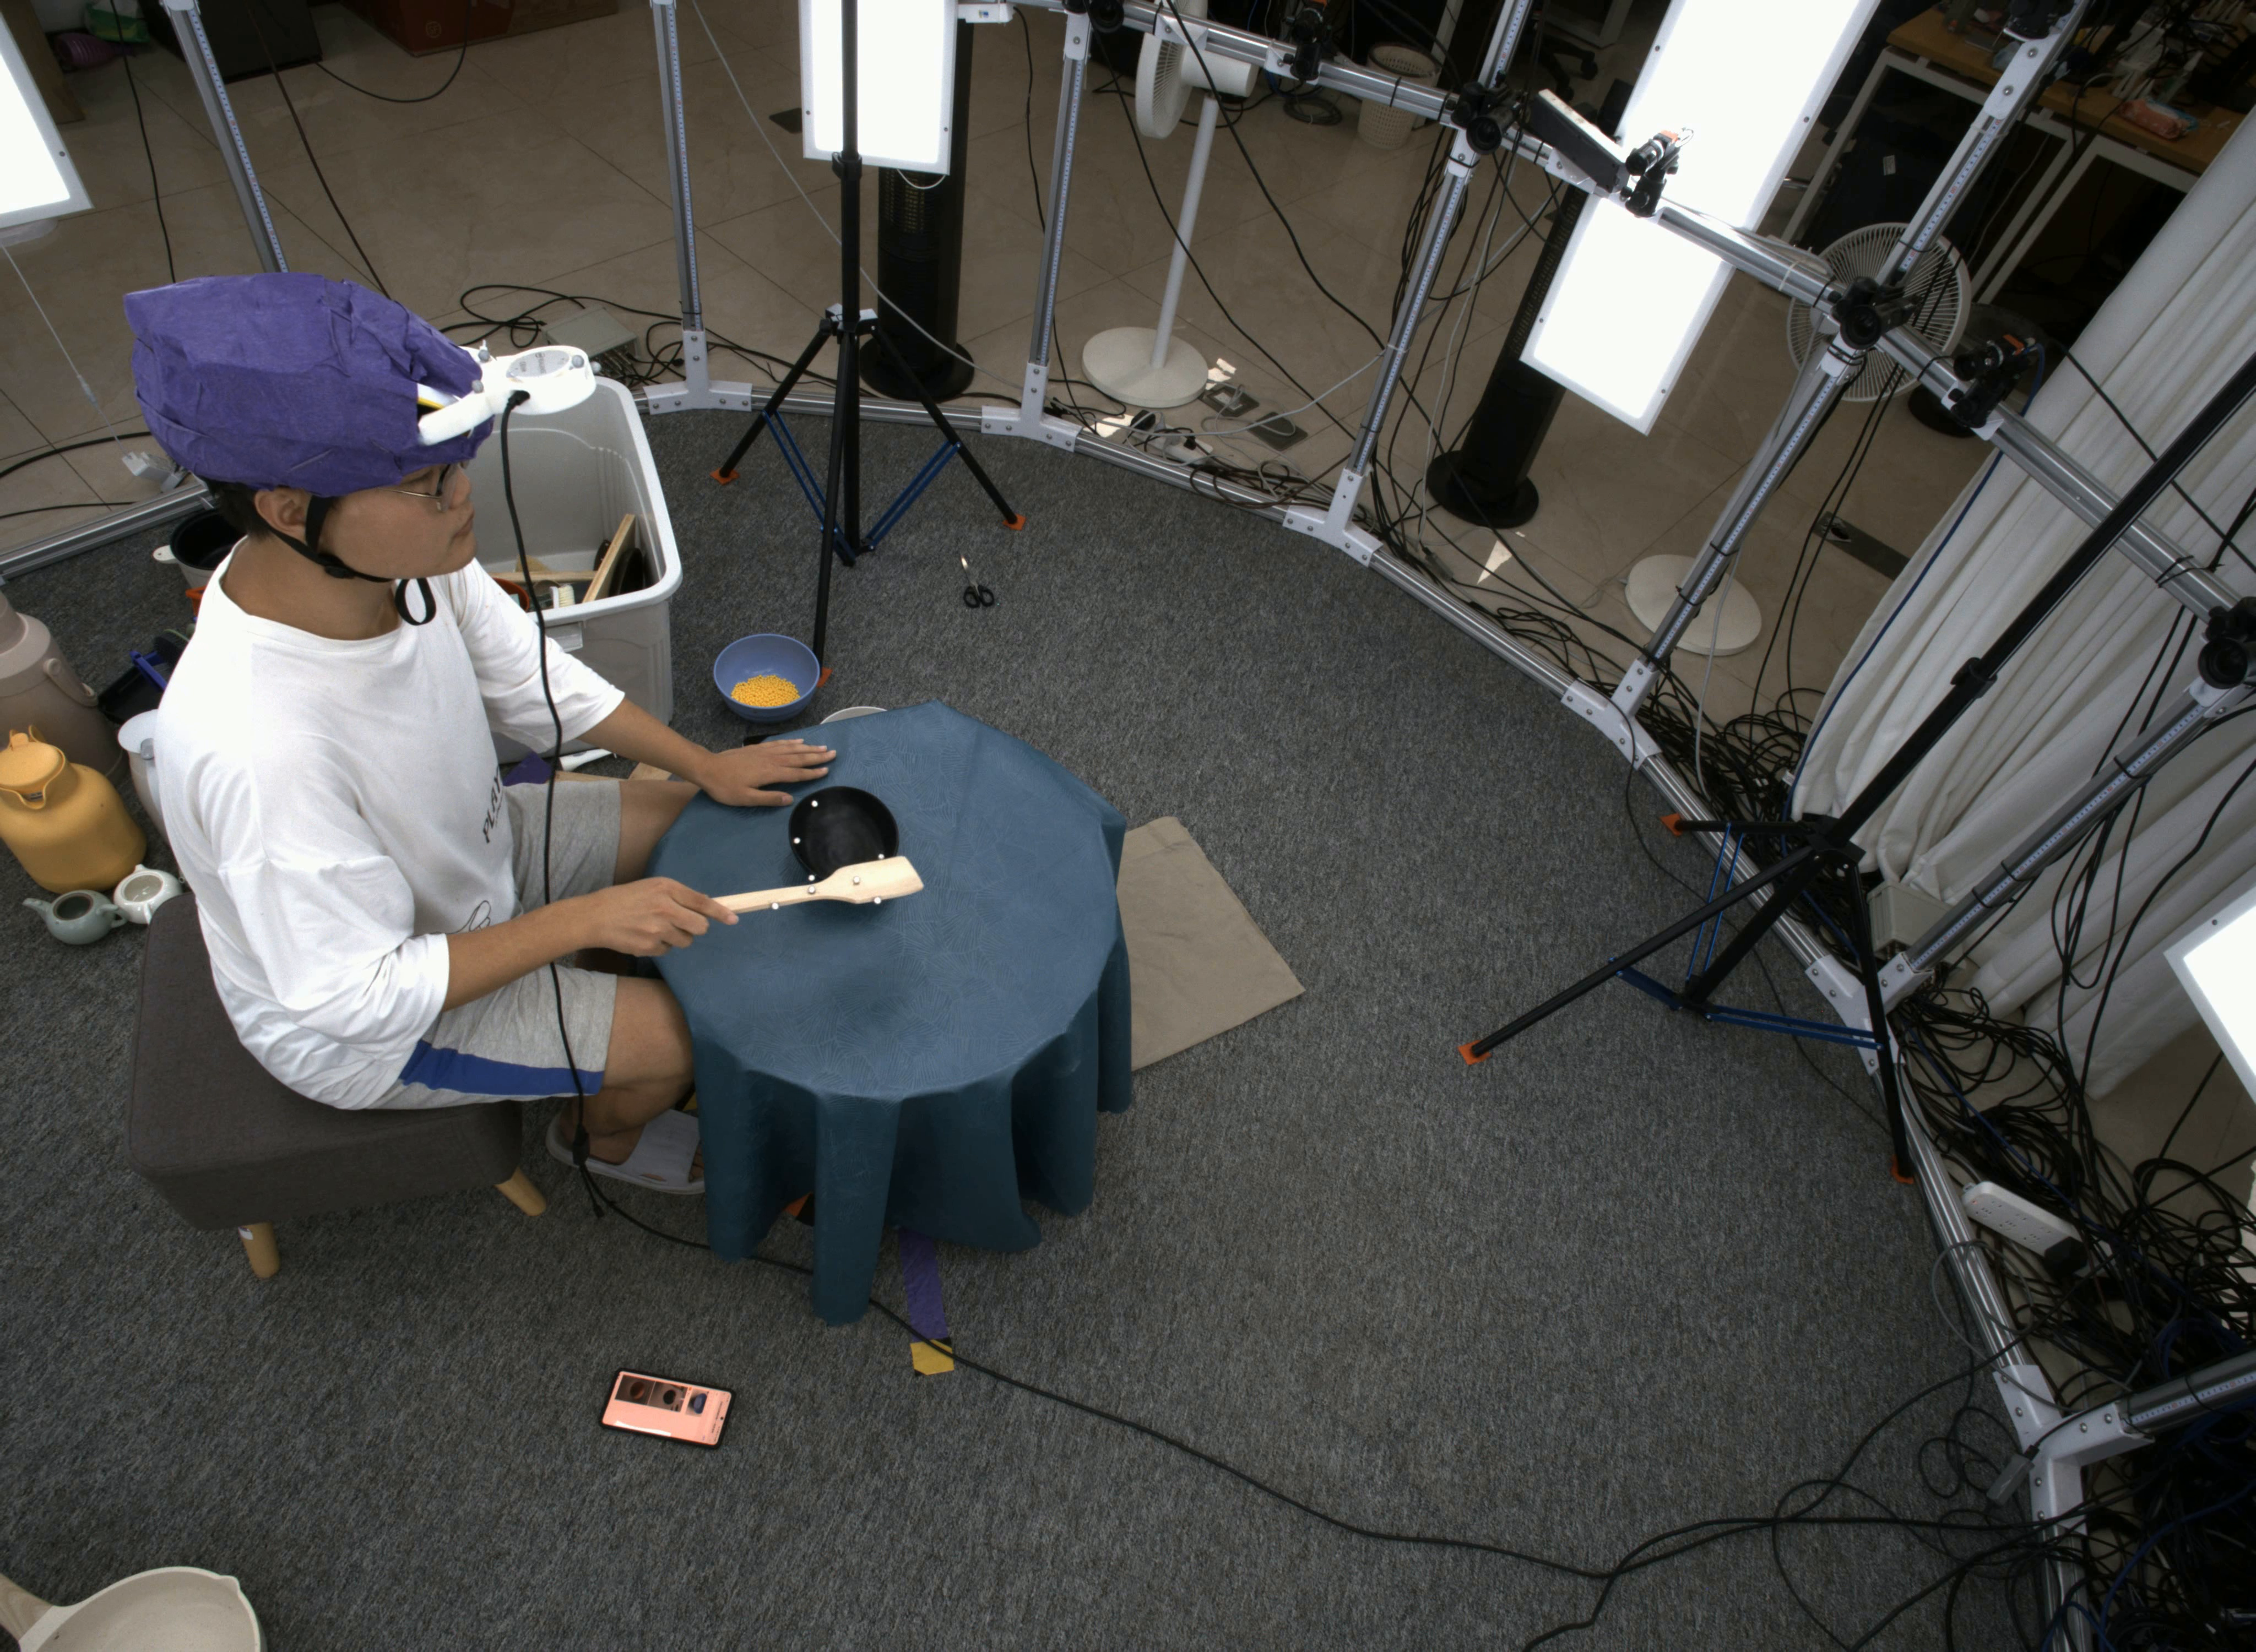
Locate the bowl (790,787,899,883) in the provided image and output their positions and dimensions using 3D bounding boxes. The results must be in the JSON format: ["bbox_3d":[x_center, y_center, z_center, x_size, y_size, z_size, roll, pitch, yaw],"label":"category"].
[{"bbox_3d":[-0.368,0.024,1.689,0.138,0.068,0.166,-14,56,-21],"label":"bowl"}]

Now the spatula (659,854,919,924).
[{"bbox_3d":[-0.384,0.075,1.473,0.296,0.011,0.069,-10,39,-30],"label":"spatula"}]
